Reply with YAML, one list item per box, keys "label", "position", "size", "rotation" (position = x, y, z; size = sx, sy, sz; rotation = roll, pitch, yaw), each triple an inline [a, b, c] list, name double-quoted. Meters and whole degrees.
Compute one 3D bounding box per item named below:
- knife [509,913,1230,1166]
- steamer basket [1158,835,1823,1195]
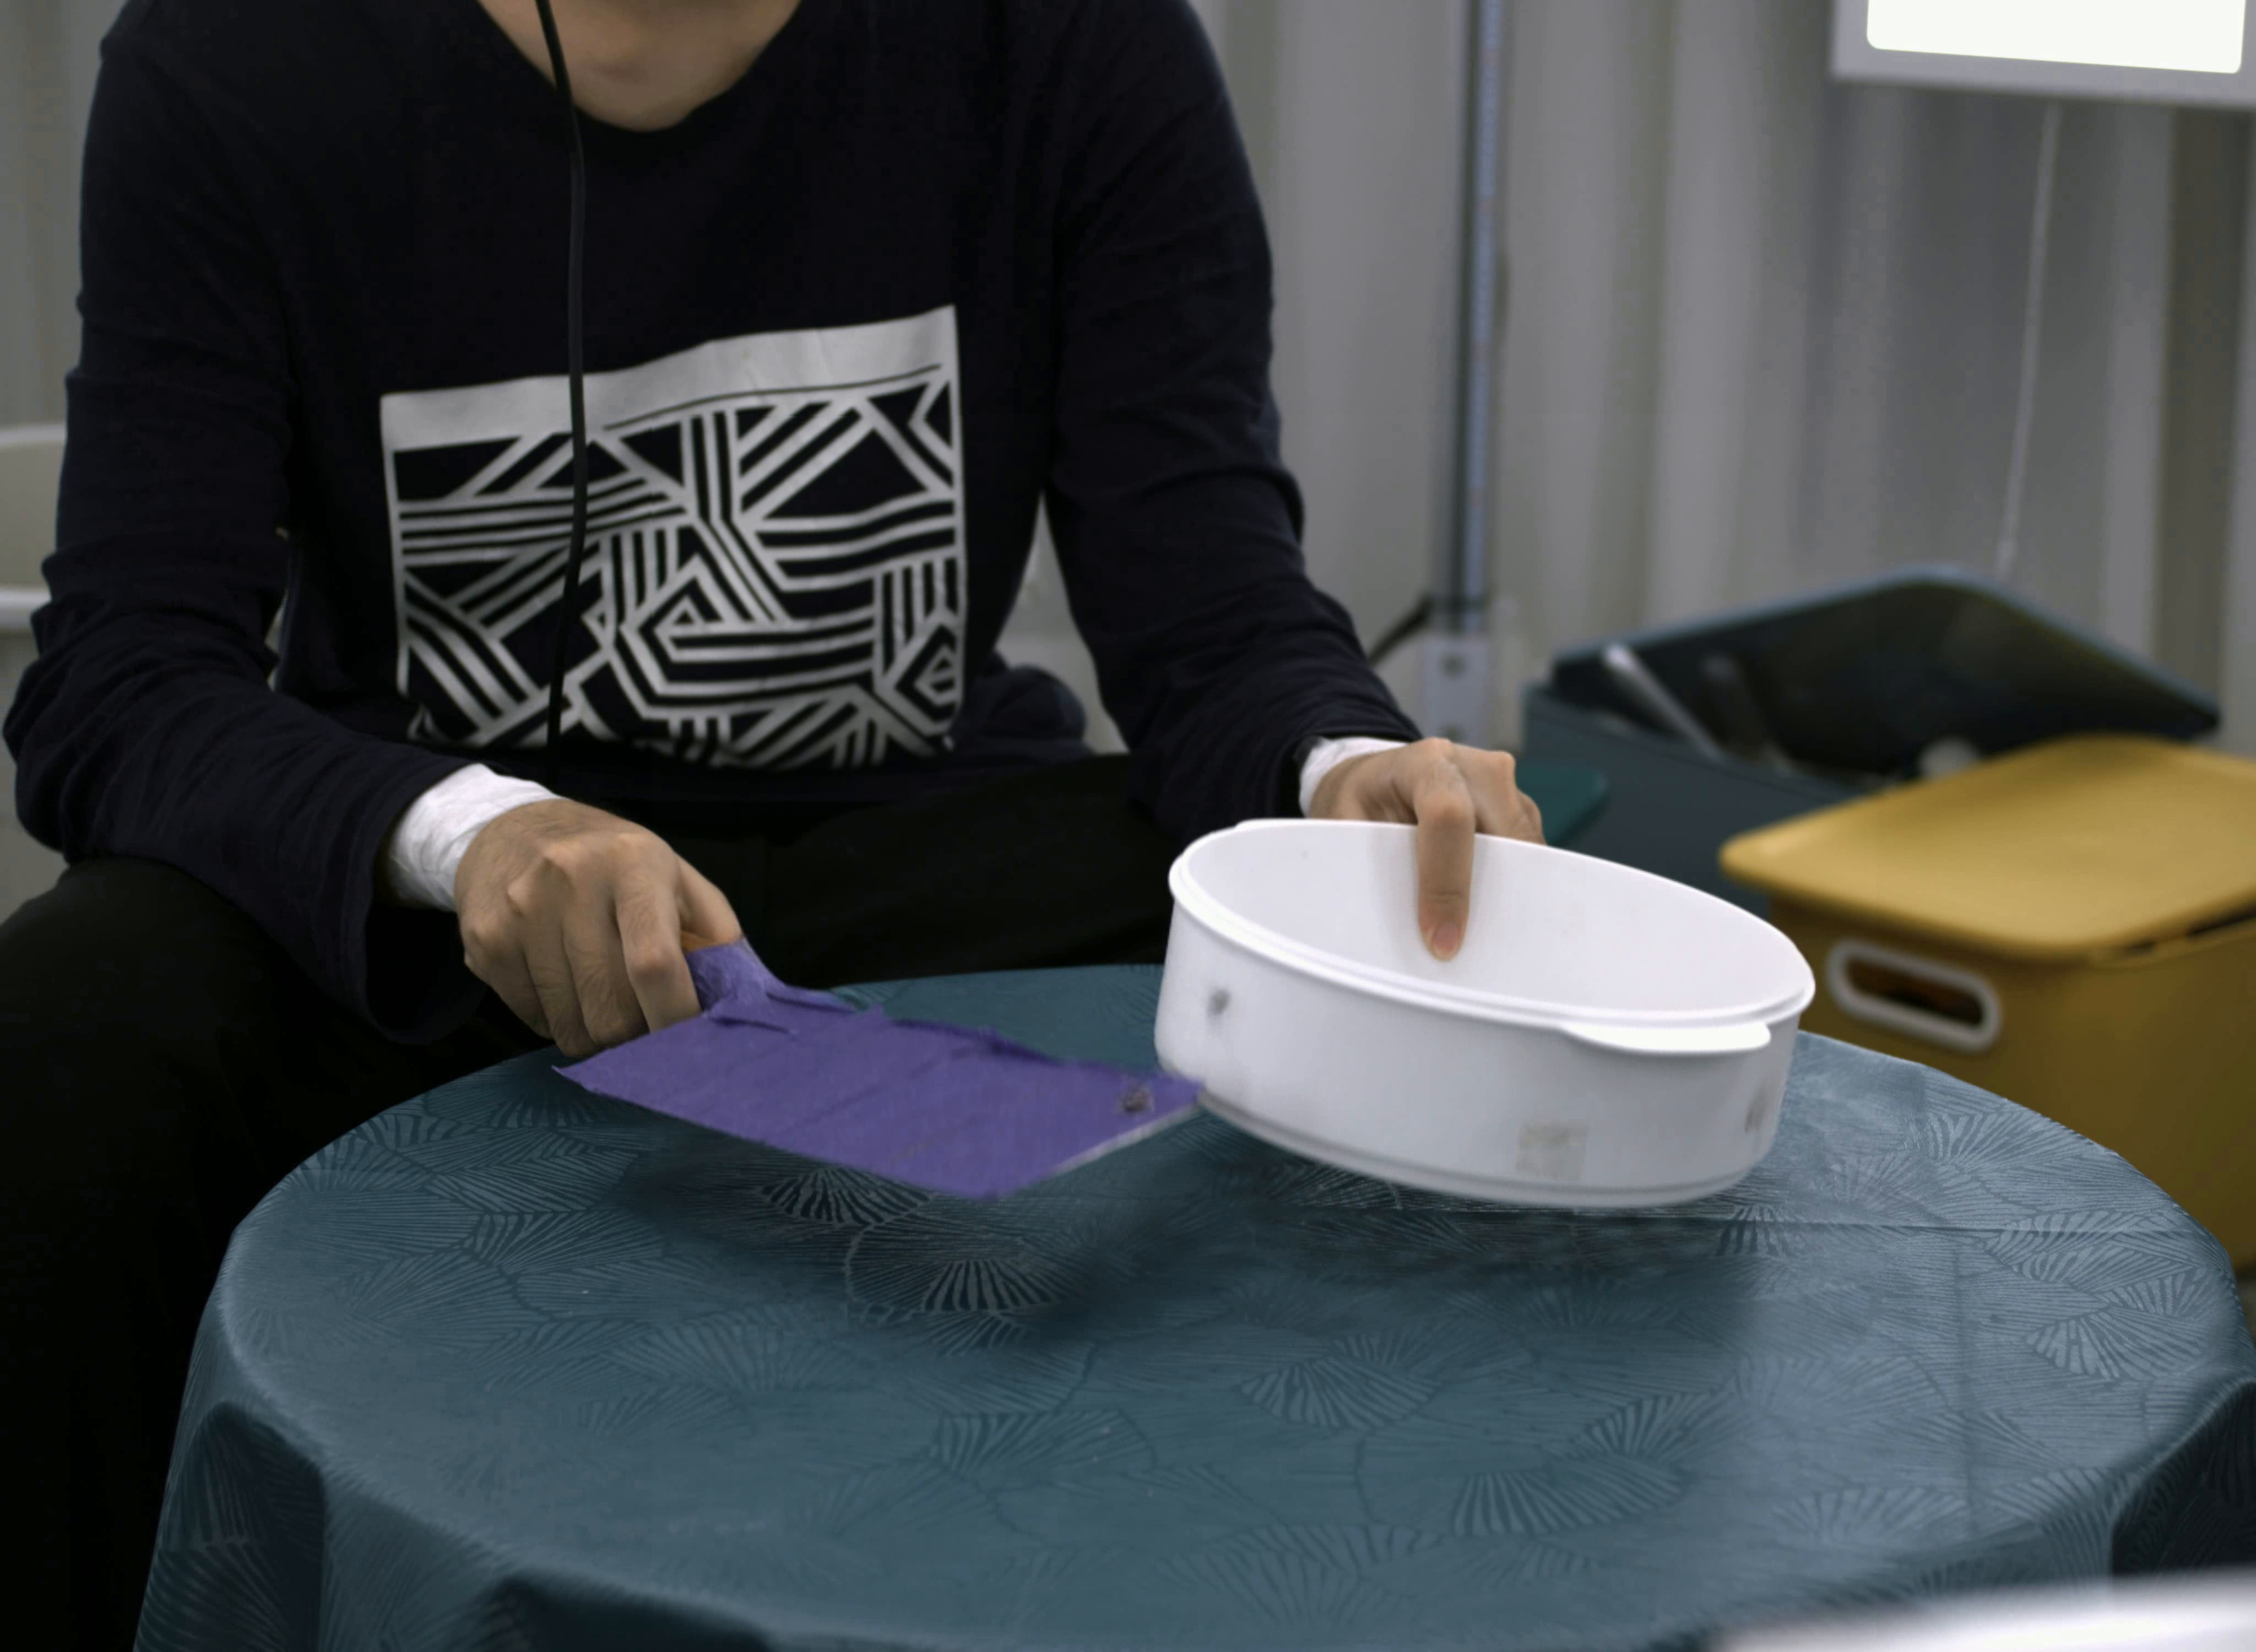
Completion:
- label: "knife"
  position: [-0.110, 0.064, 1.608]
  size: [0.104, 0.032, 0.311]
  rotation: [-22, 19, -40]
- label: "steamer basket"
  position: [0.108, 0.058, 1.611]
  size: [0.203, 0.069, 0.227]
  rotation: [3, 12, -31]
